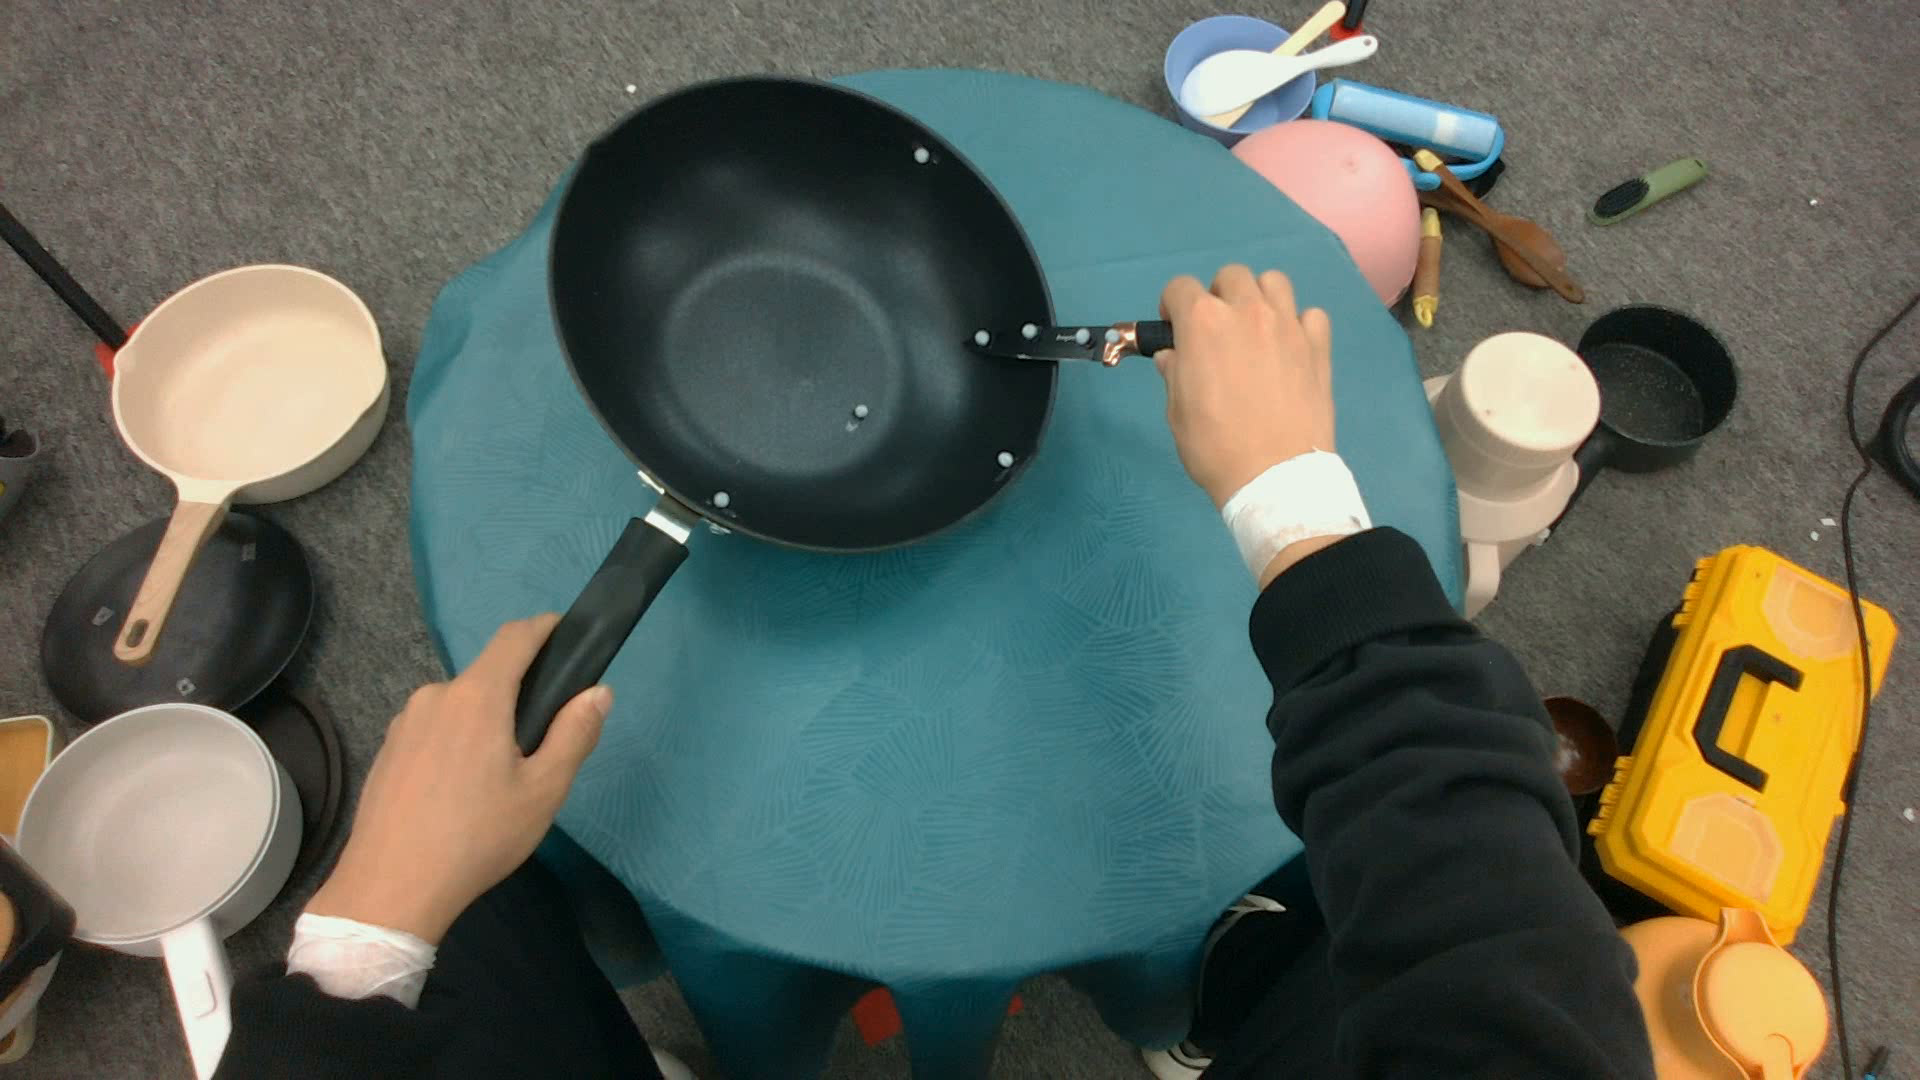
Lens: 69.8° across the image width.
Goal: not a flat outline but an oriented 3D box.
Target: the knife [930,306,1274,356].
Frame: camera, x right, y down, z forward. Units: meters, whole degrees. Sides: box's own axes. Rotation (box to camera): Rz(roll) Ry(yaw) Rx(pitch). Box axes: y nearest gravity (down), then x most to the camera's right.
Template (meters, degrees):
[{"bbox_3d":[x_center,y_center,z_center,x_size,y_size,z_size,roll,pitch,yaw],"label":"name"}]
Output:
[{"bbox_3d":[0.069,-0.114,0.758,0.225,0.017,0.026,6,87,40],"label":"knife"}]

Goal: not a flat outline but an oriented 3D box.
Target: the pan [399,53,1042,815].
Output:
[{"bbox_3d":[-0.138,-0.055,0.729,0.288,0.086,0.465,33,64,-10],"label":"pan"}]
